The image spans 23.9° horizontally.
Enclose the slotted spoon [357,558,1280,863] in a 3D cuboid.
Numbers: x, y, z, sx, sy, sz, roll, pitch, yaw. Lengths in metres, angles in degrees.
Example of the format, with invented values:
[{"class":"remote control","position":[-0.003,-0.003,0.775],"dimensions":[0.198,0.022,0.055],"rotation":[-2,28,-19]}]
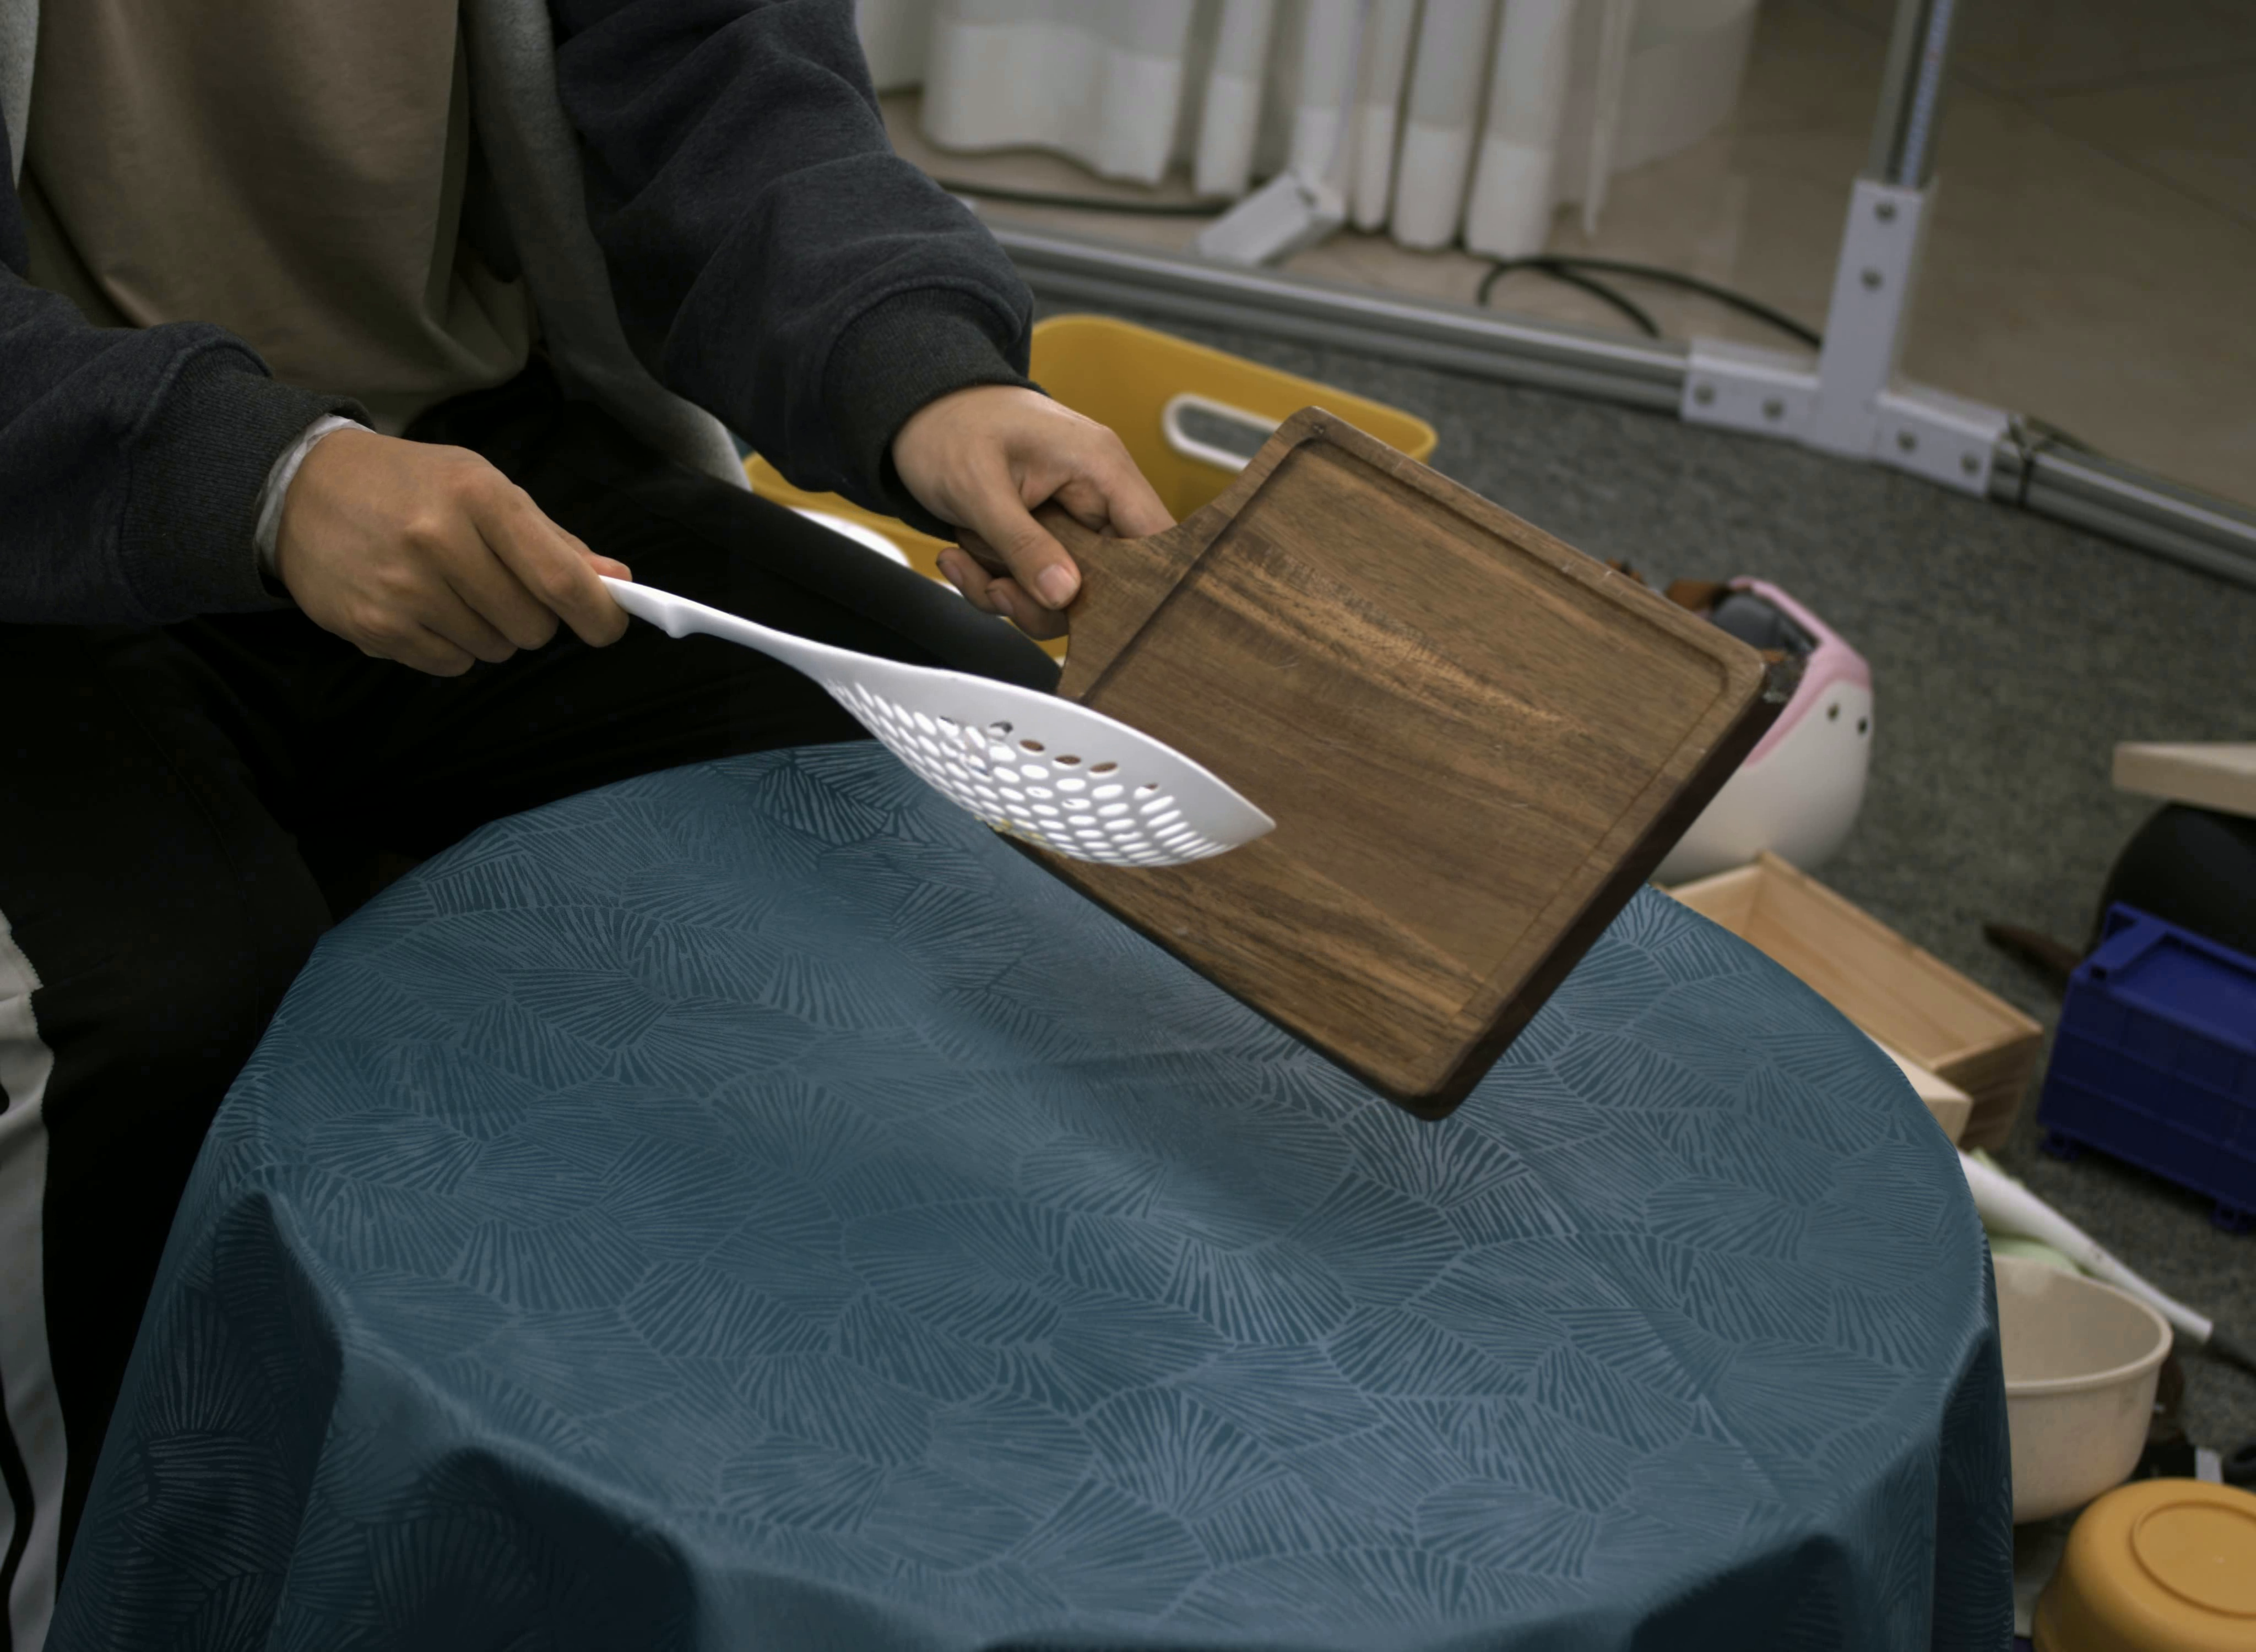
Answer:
[{"class":"slotted spoon","position":[-0.111,-0.050,1.795],"dimensions":[0.350,0.050,0.136],"rotation":[22,-5,27]}]

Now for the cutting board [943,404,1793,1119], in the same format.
[{"class":"cutting board","position":[0.052,-0.048,1.880],"dimensions":[0.201,0.023,0.355],"rotation":[-50,47,-8]}]
